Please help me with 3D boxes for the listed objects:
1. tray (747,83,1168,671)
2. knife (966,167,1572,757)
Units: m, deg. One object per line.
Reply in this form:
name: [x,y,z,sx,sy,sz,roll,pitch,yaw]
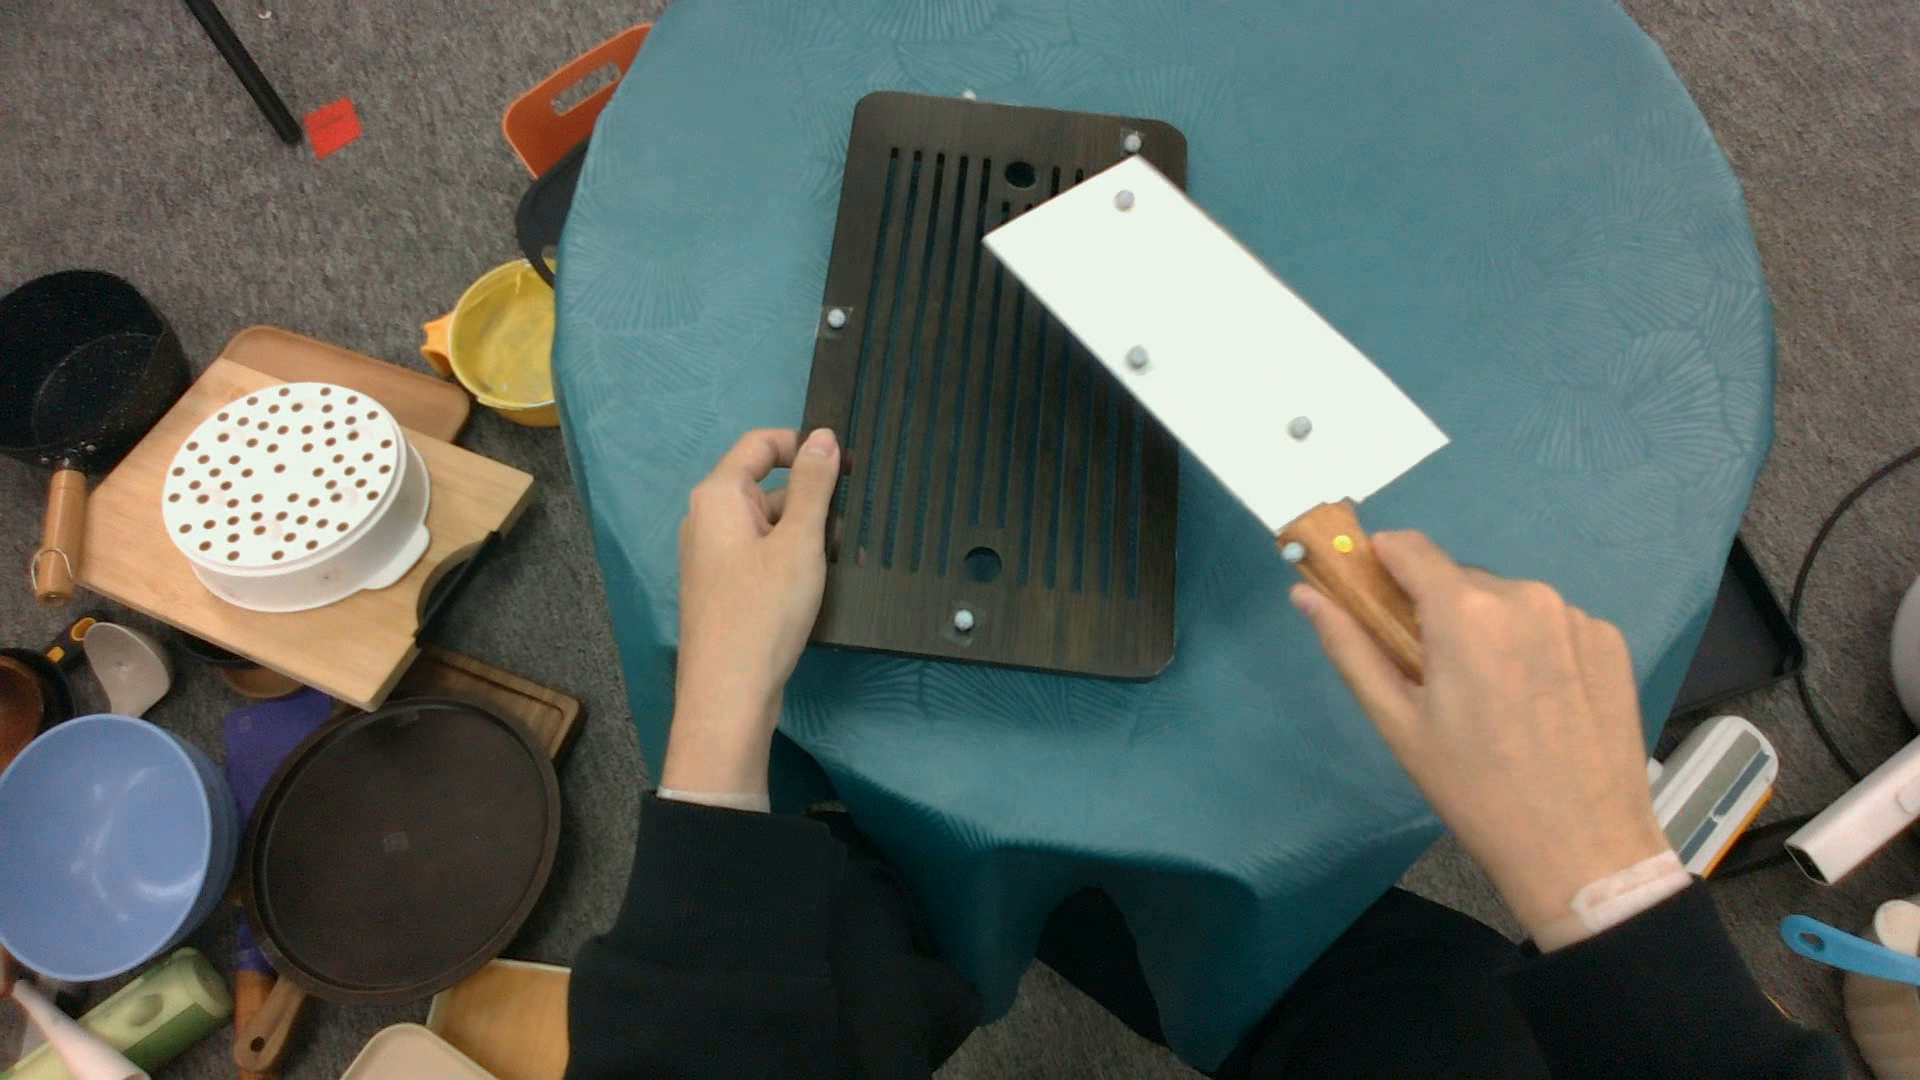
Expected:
tray: [0.008,-0.087,0.638,0.170,0.018,0.307,7,63,-1]
knife: [0.129,-0.049,0.546,0.093,0.021,0.306,-33,67,-23]
